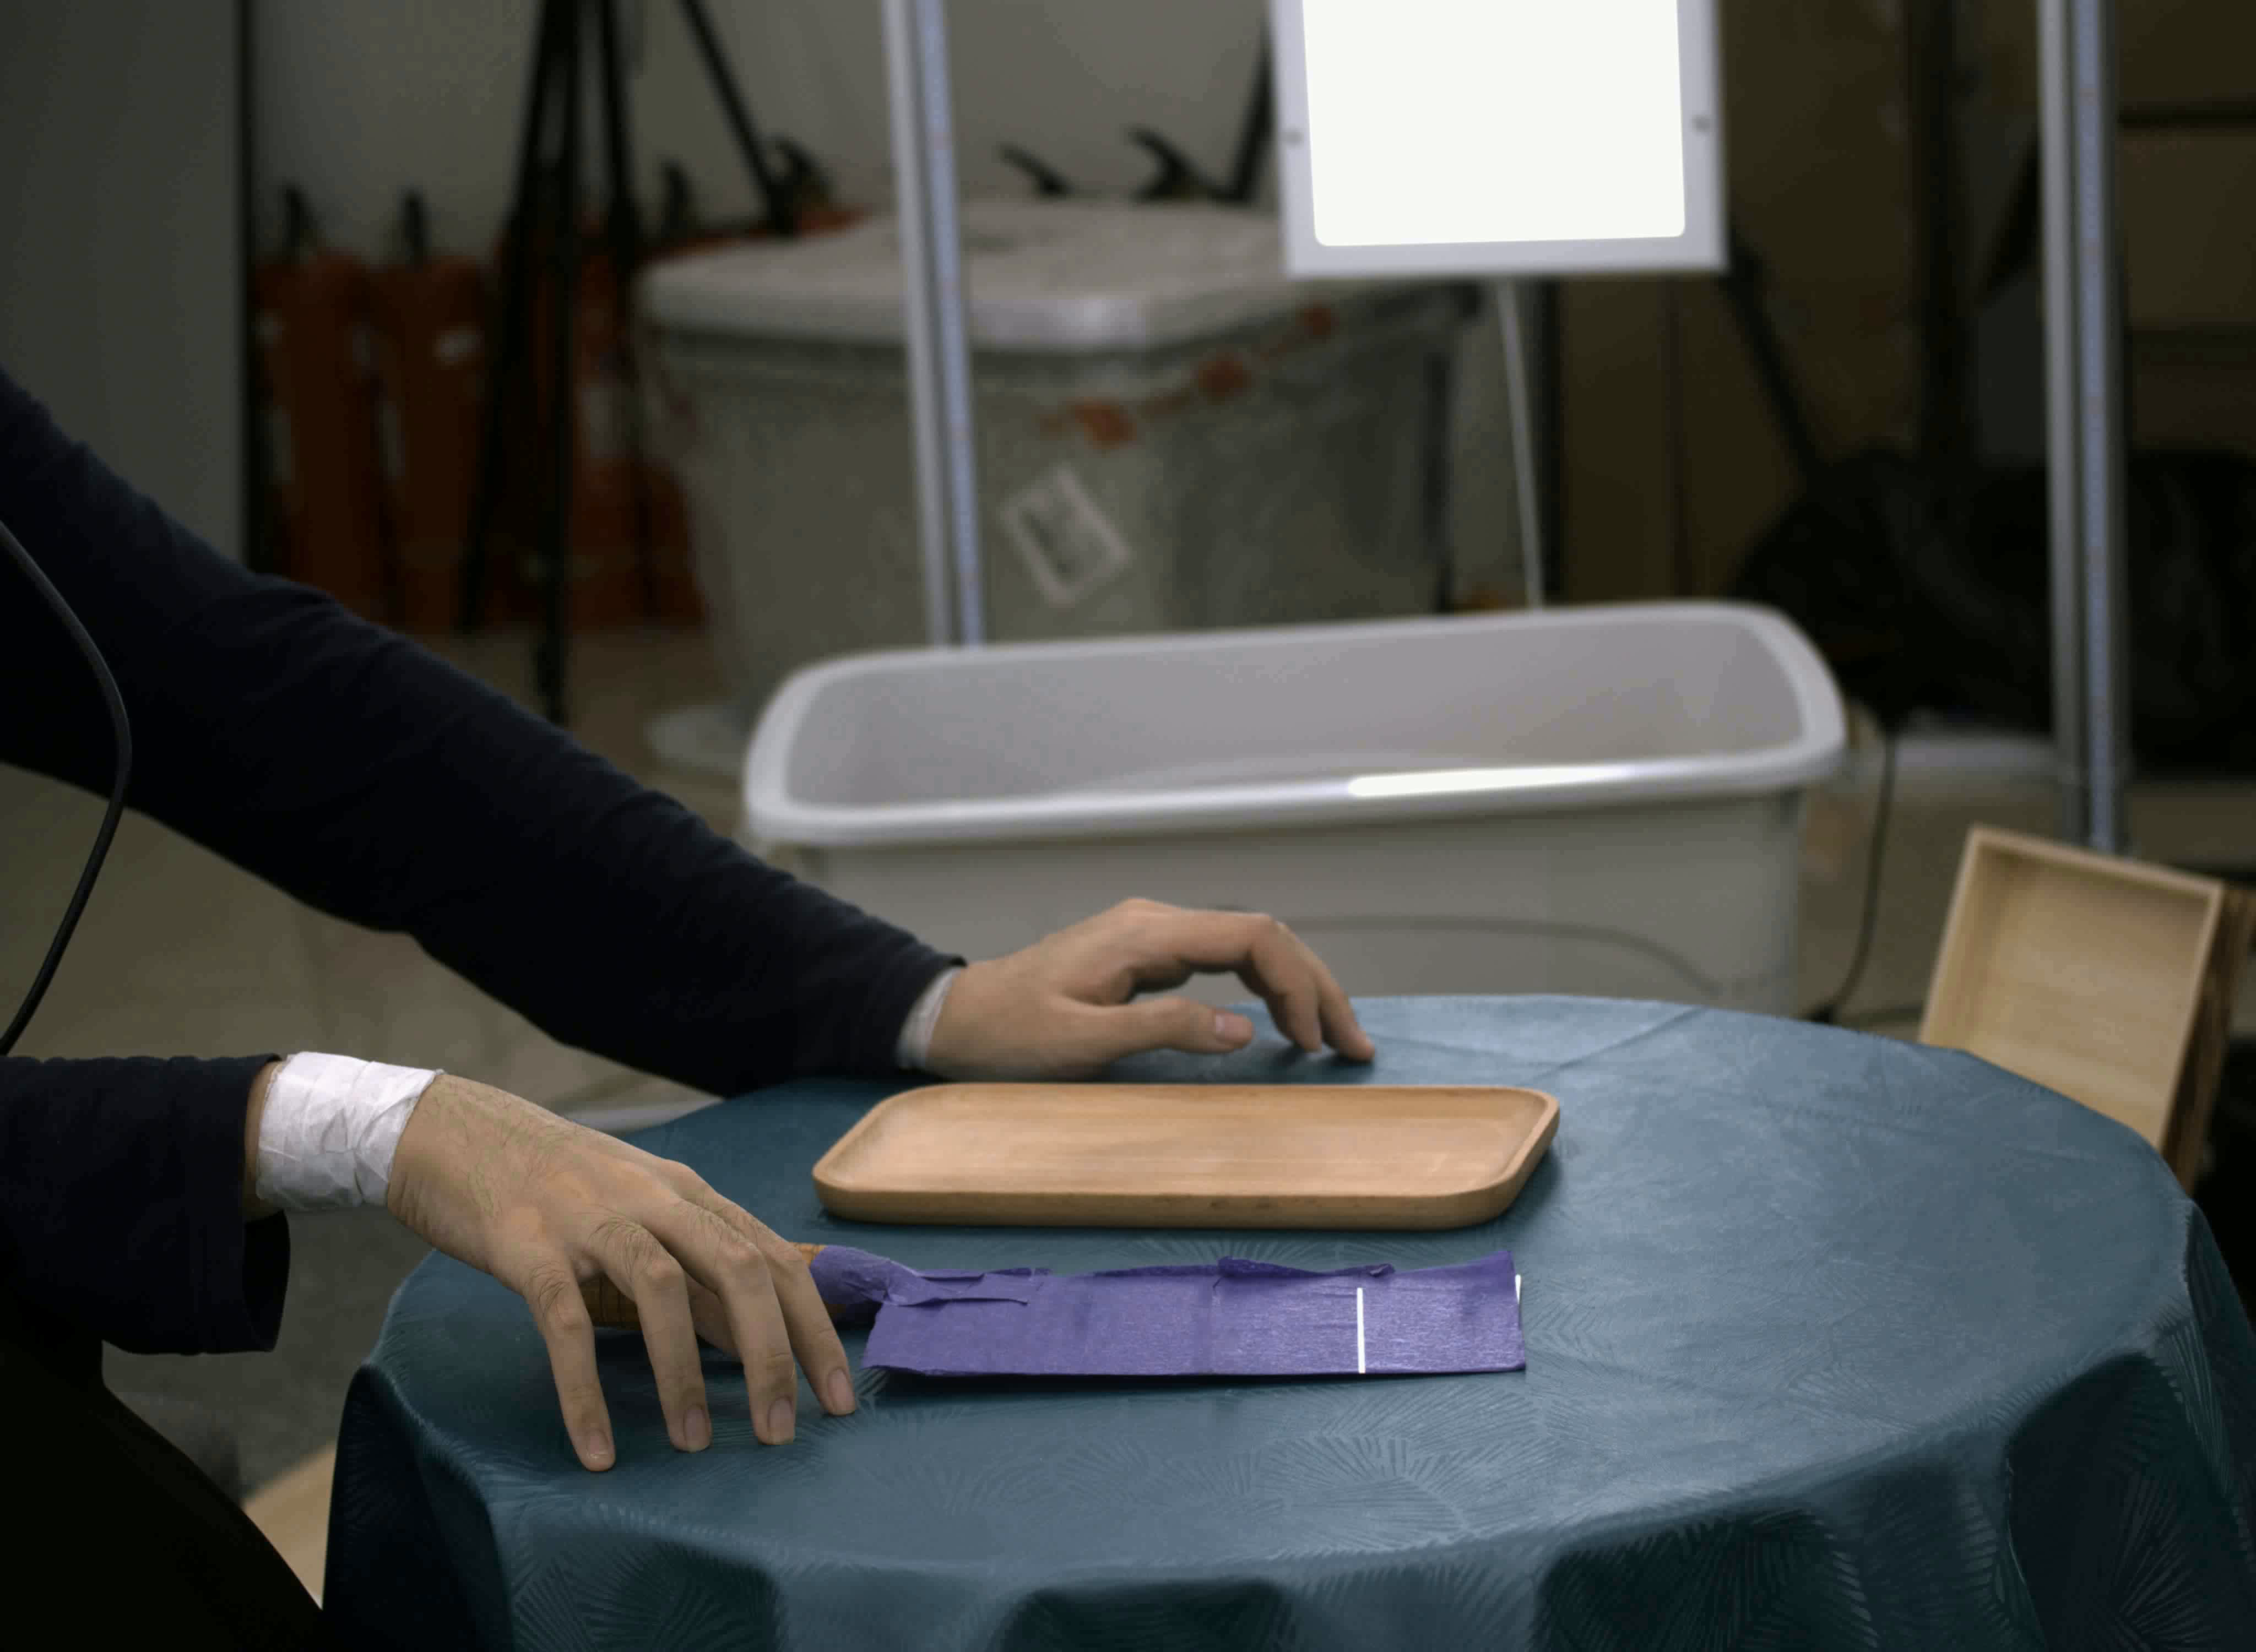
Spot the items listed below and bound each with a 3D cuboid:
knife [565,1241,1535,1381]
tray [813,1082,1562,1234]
[{"bbox_3d":[-0.028,0.153,1.750,0.316,0.032,0.103,-3,13,7],"label":"knife"},{"bbox_3d":[0.021,0.114,1.911,0.254,0.023,0.128,0,17,21],"label":"tray"}]
